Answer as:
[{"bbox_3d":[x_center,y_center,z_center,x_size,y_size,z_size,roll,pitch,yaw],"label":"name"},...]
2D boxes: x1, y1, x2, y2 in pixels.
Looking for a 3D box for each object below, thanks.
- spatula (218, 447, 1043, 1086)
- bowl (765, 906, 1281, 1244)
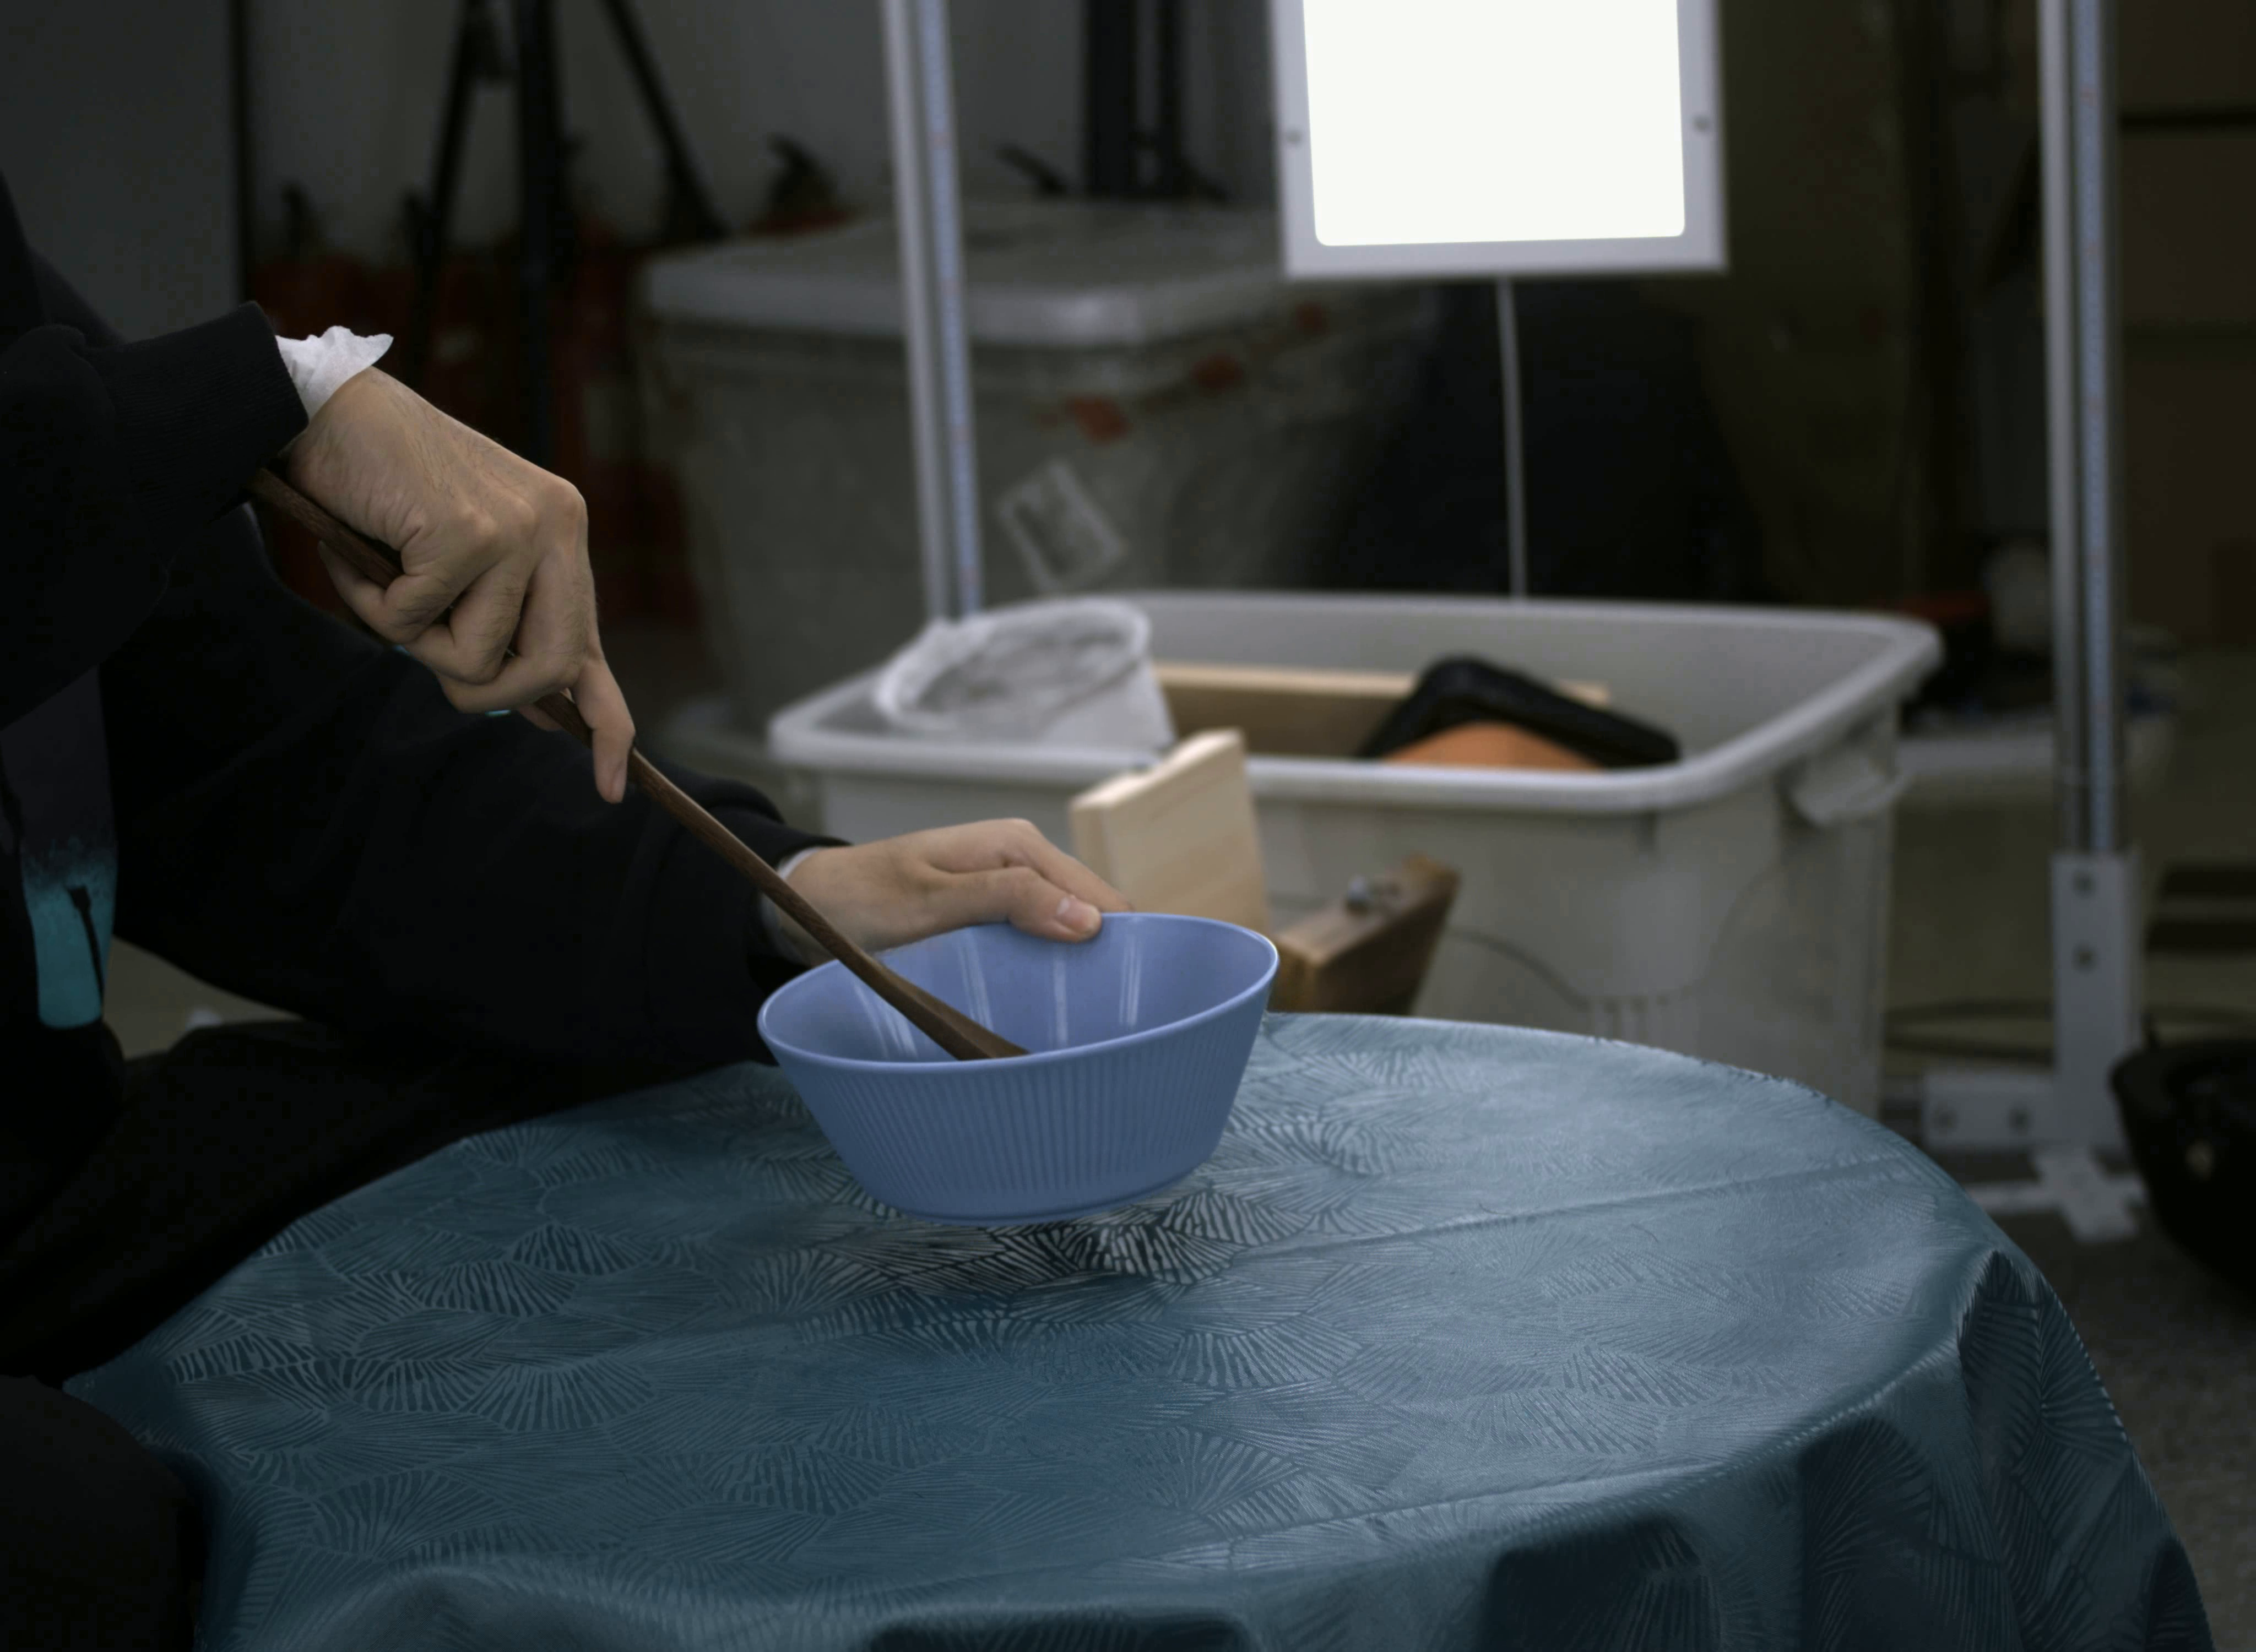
[{"bbox_3d":[-0.143,-0.006,1.788,0.016,0.381,0.097,-51,21,-2],"label":"spatula"},{"bbox_3d":[-0.030,0.087,1.842,0.176,0.070,0.176,-10,17,2],"label":"bowl"}]
